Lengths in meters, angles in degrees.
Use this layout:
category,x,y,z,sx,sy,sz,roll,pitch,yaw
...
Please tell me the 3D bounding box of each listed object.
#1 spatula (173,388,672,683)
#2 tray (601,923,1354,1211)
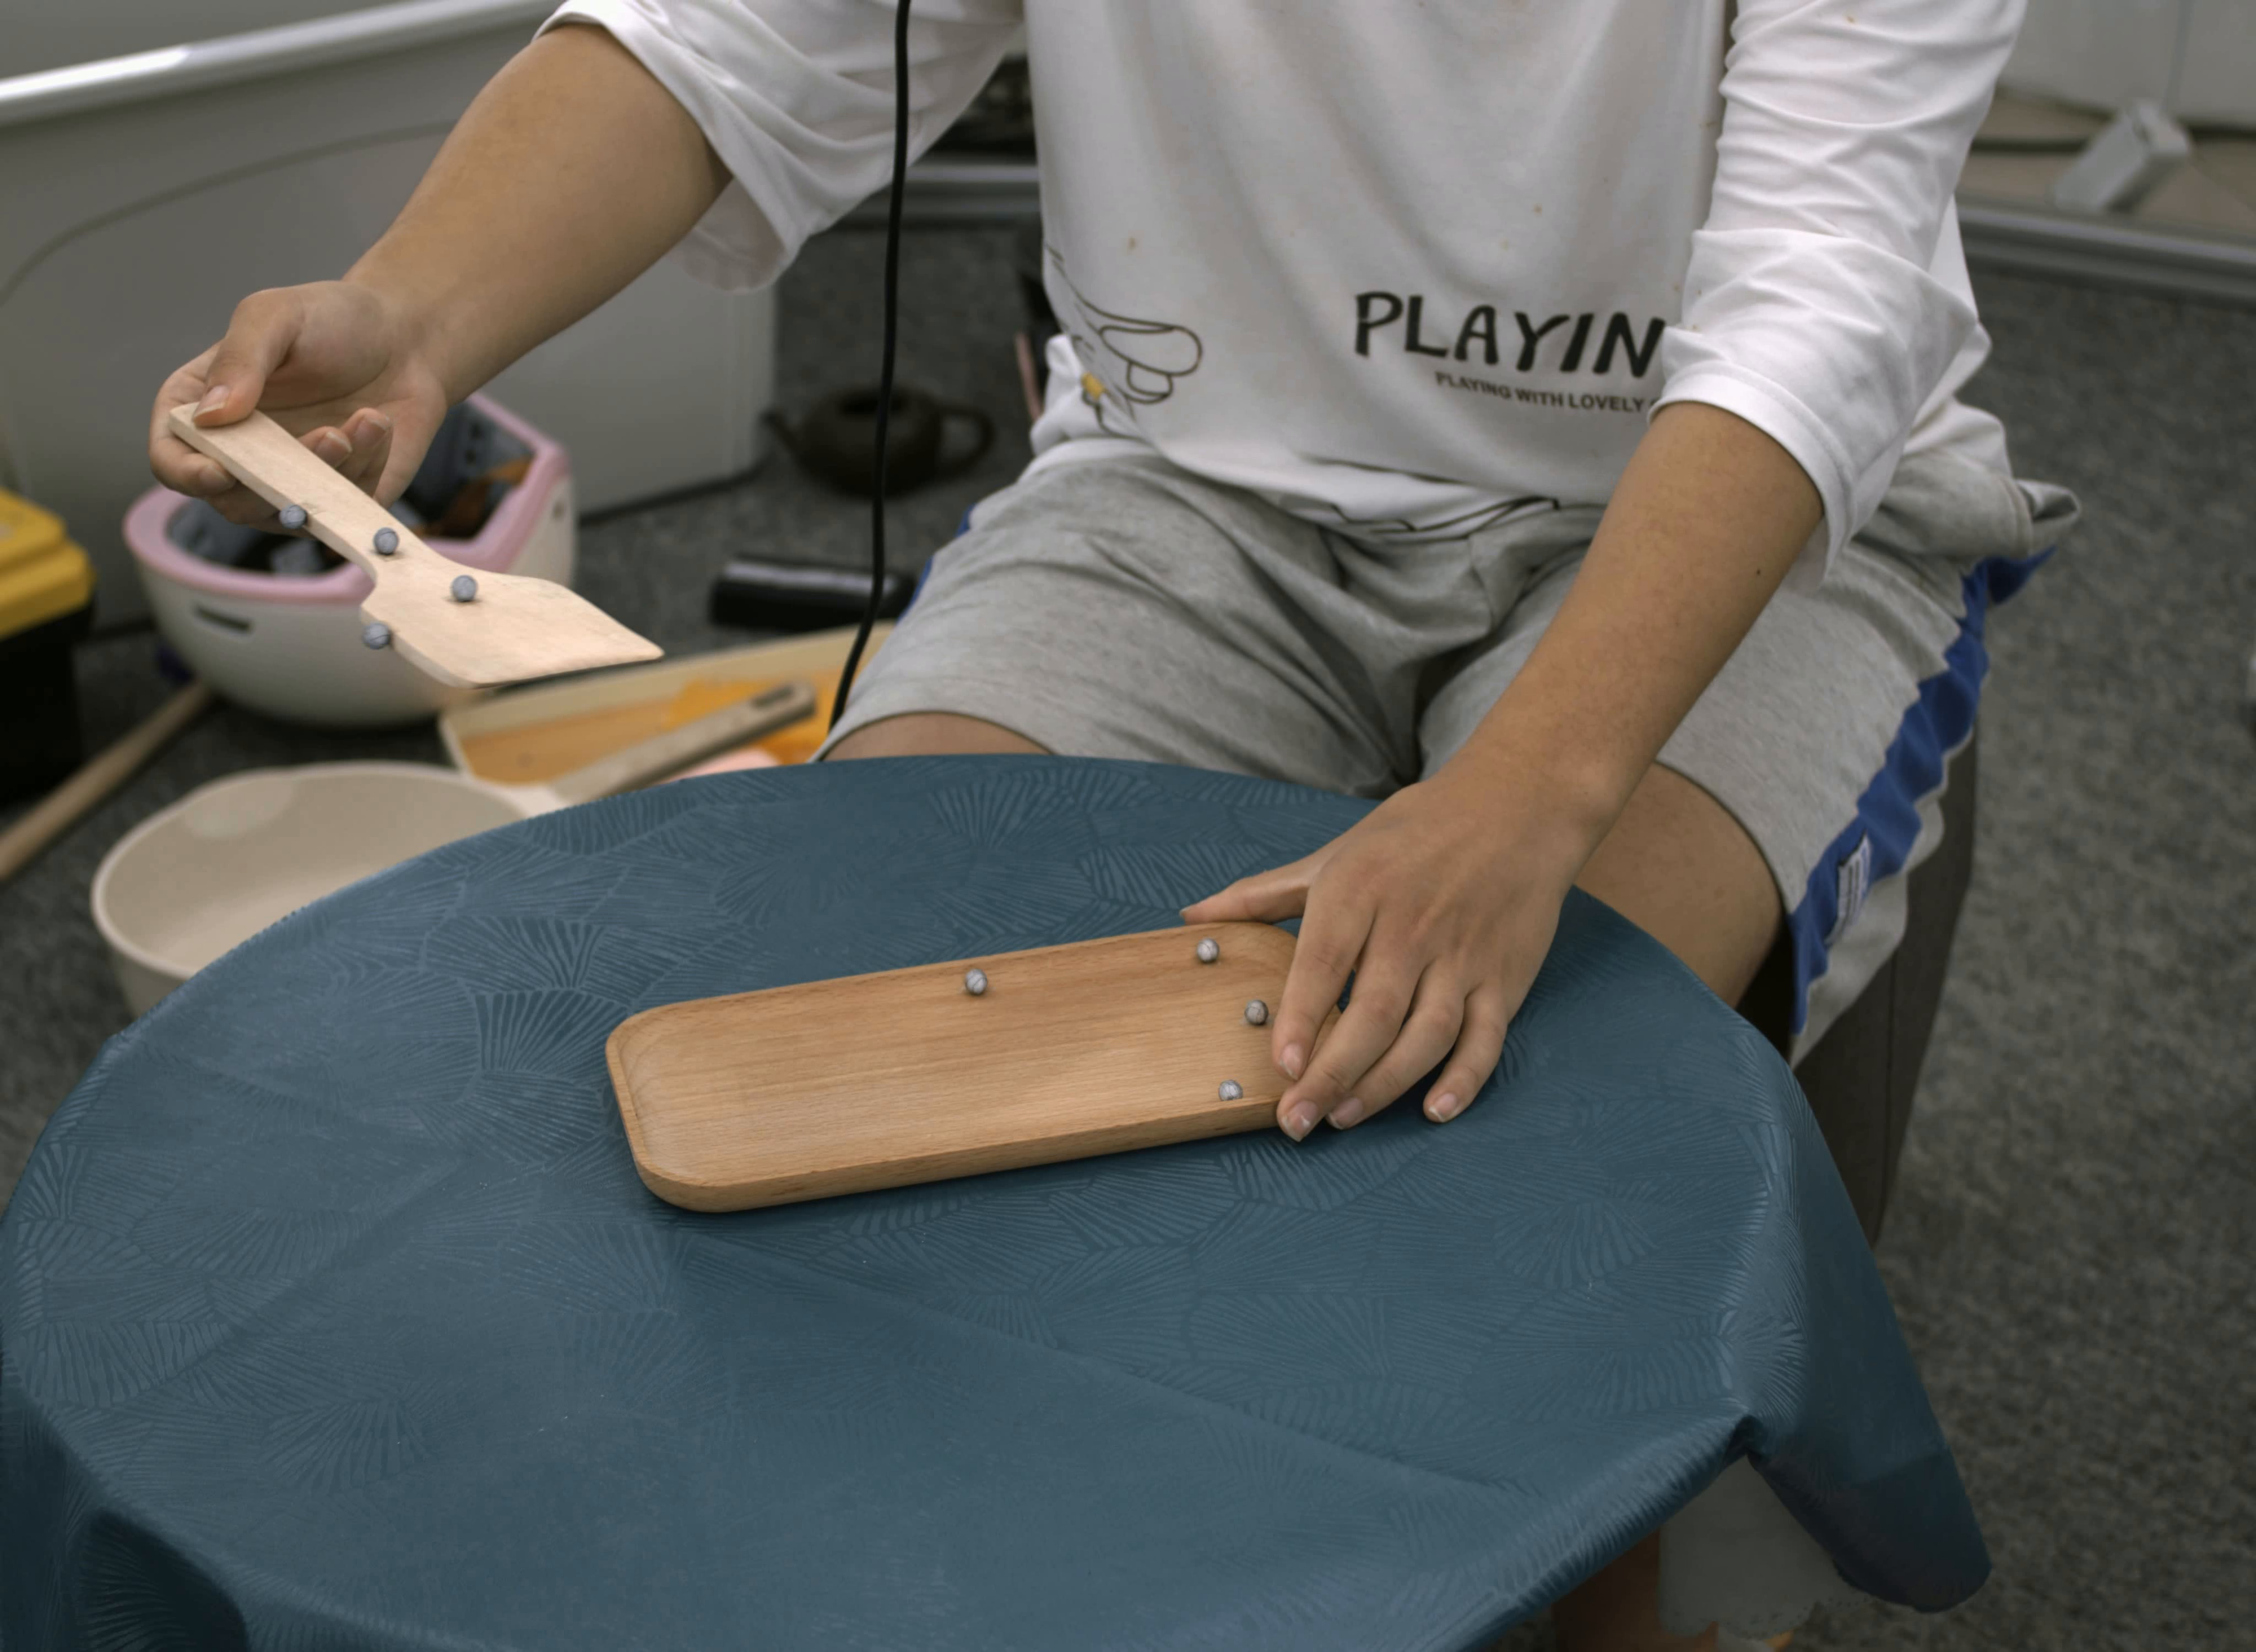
category,x,y,z,sx,sy,sz,roll,pitch,yaw
spatula,-0.249,-0.098,1.865,0.072,0.010,0.294,-11,26,-31
tray,-0.052,0.082,1.928,0.250,0.022,0.132,-8,25,-9
